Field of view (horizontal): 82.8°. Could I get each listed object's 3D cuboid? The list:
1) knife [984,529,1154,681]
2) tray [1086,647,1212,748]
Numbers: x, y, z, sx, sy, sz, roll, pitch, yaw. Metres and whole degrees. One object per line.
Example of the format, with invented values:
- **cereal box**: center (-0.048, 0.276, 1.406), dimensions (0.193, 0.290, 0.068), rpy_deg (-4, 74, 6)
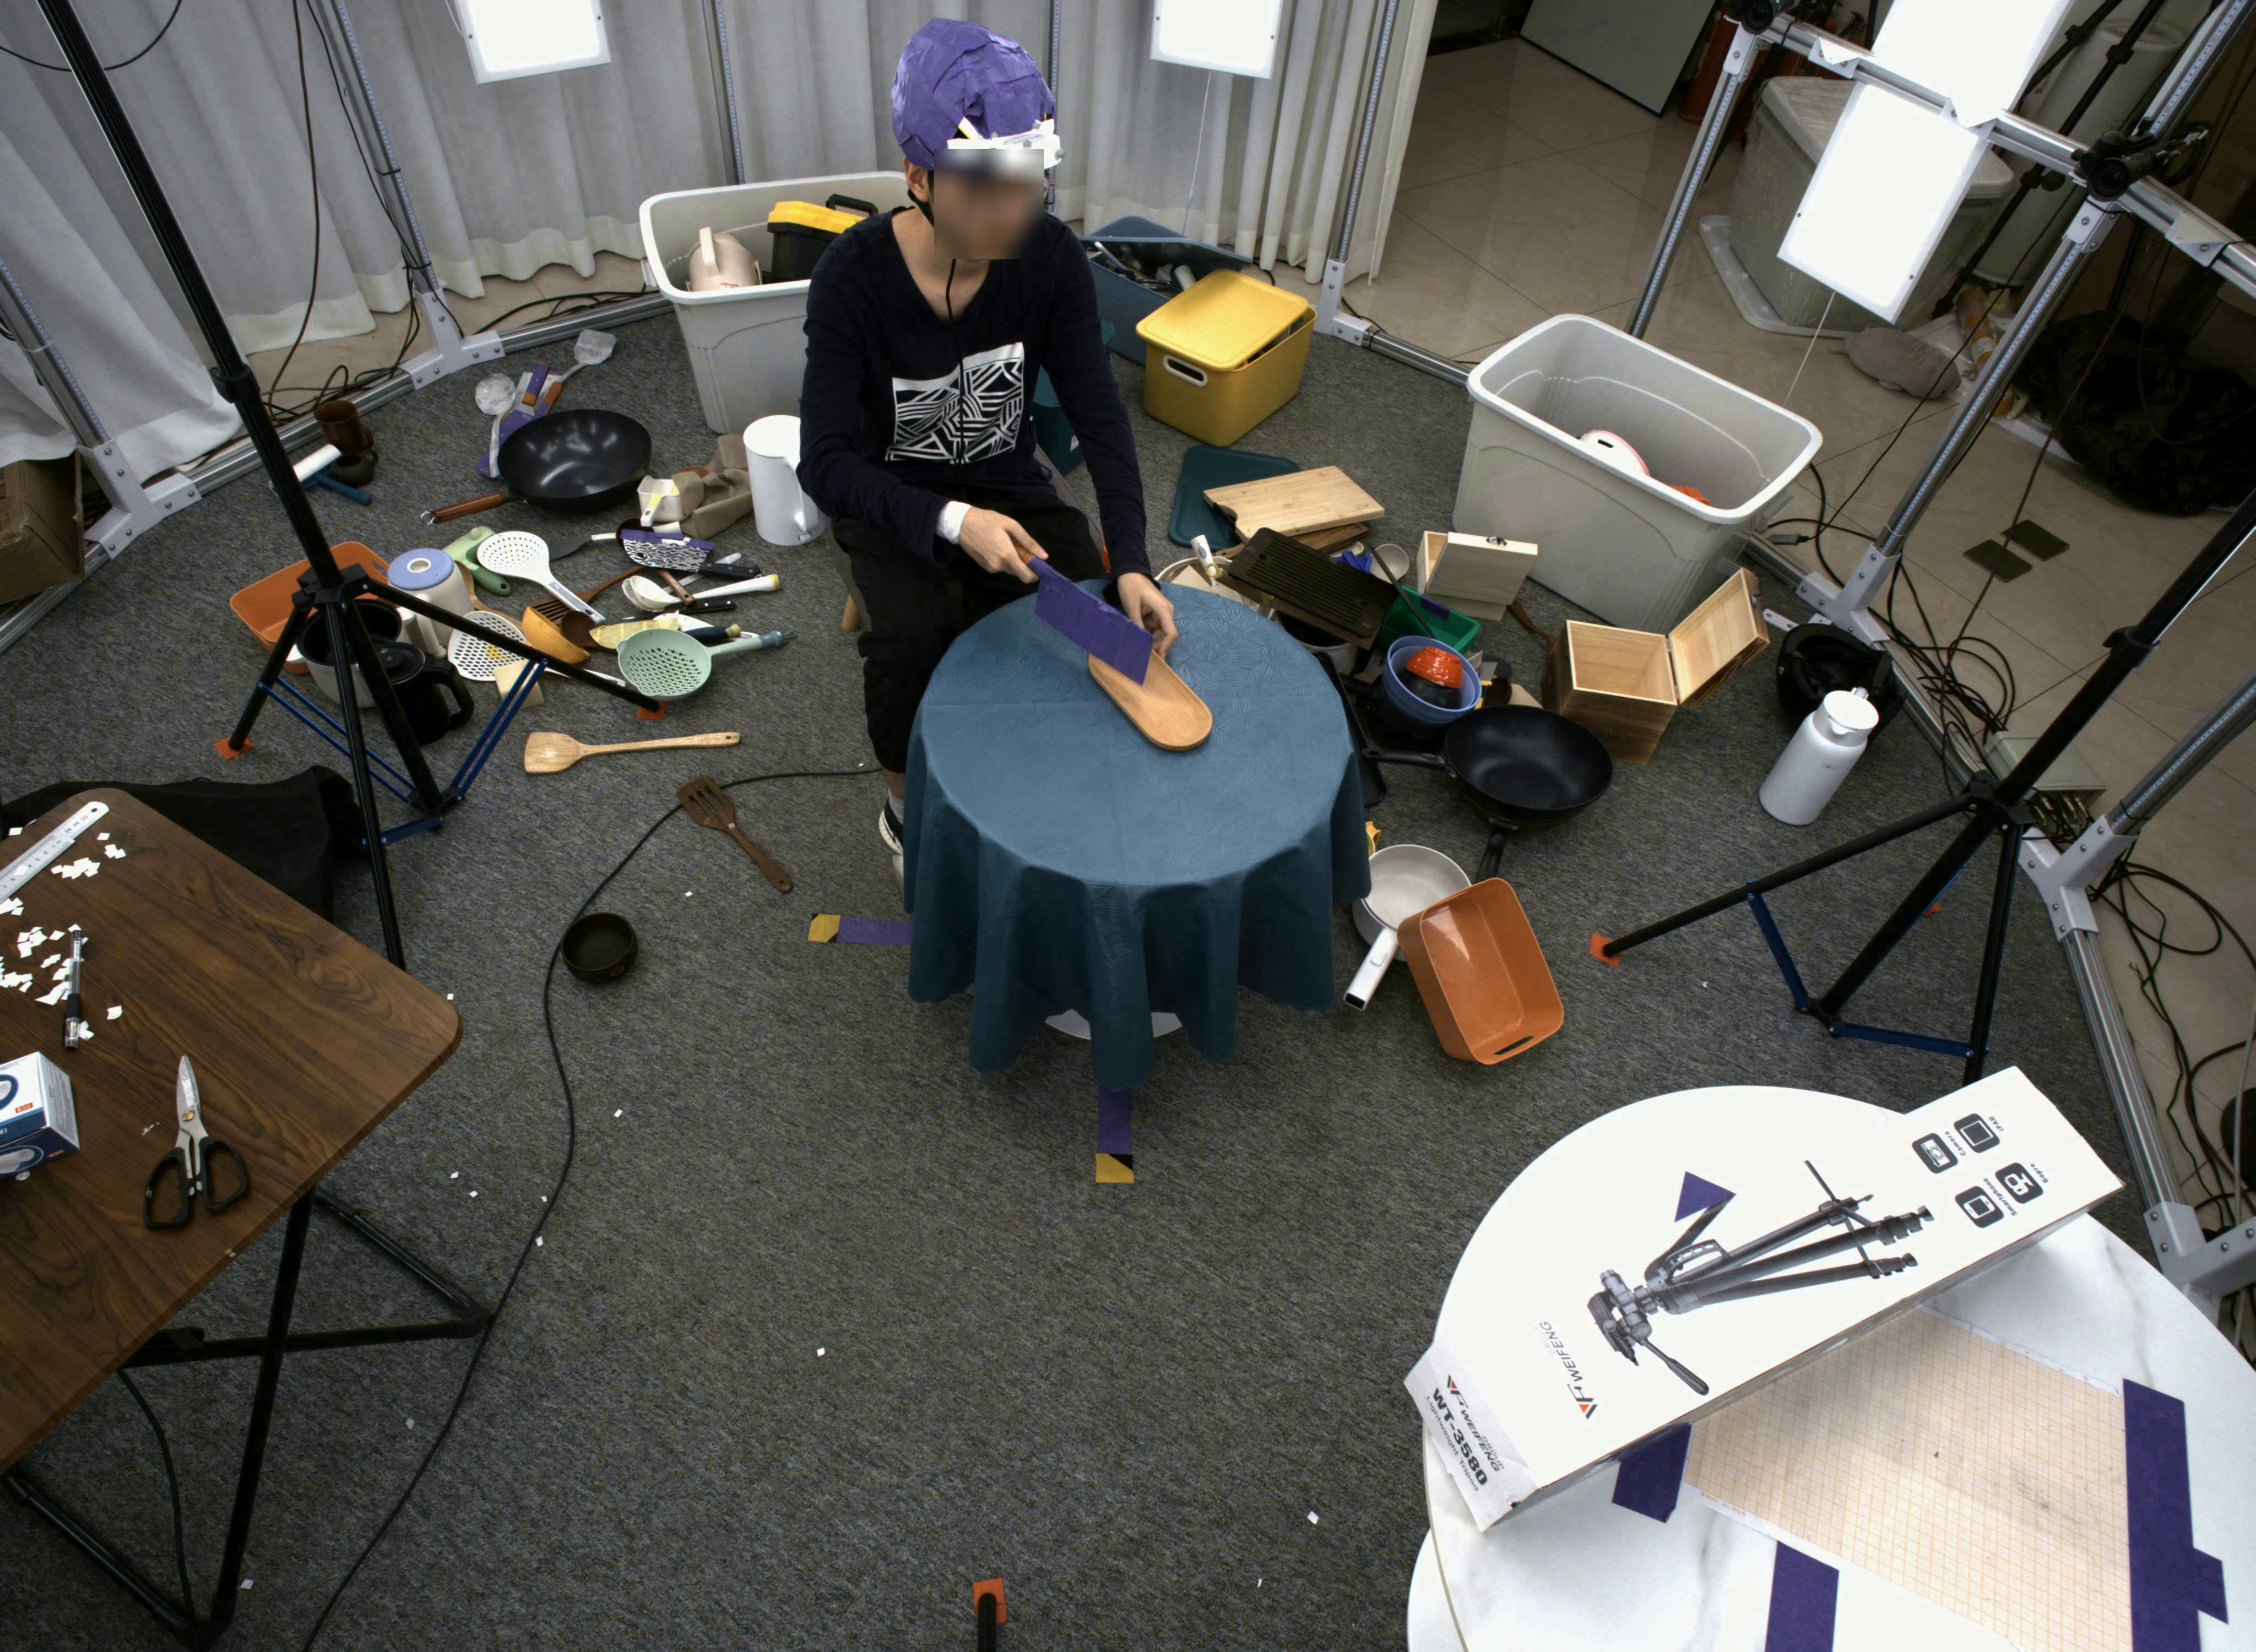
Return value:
- **knife**: center (-0.091, -0.312, 1.837), dimensions (0.319, 0.101, 0.032), rpy_deg (38, 46, 24)
- **tray**: center (0.028, -0.192, 1.823), dimensions (0.102, 0.020, 0.235), rpy_deg (-27, 55, -23)
